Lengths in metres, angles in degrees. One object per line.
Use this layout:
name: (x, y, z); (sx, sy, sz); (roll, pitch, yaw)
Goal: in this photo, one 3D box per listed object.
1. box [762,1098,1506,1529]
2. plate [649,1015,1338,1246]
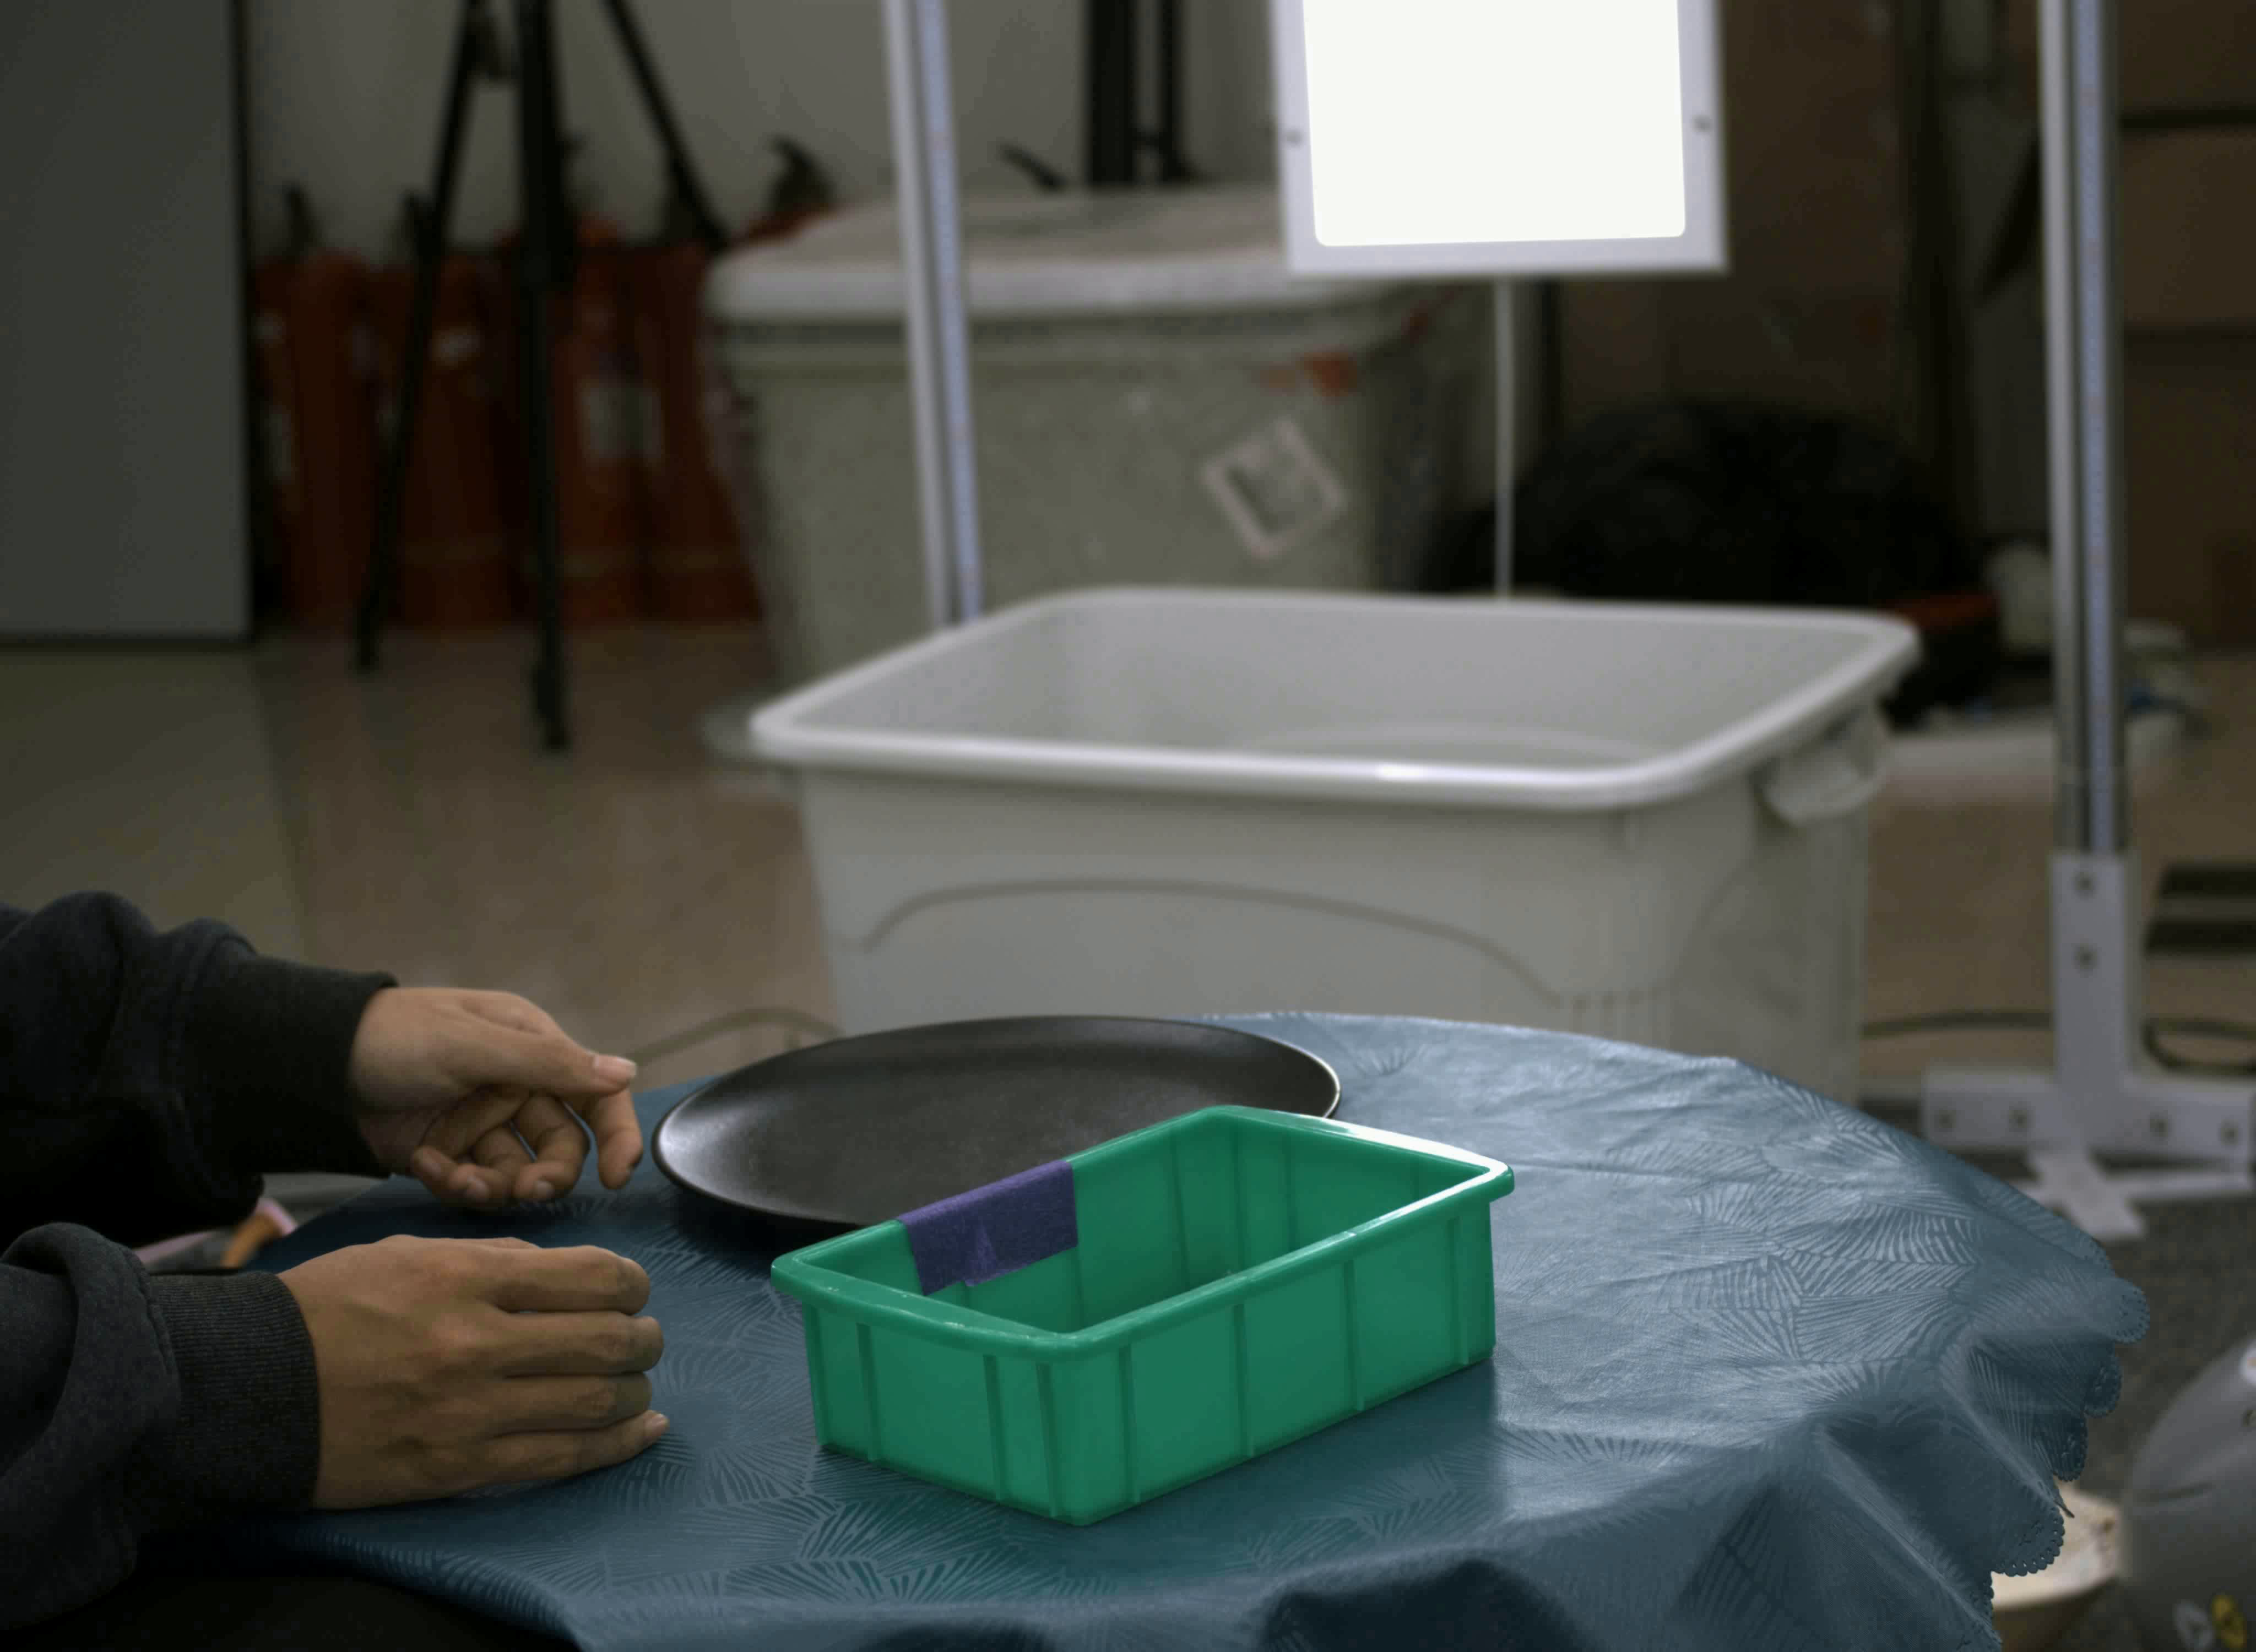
box: (0.006, 0.147, 1.678); (0.205, 0.065, 0.142); (-20, 18, -40)
plate: (-0.047, 0.110, 1.933); (0.244, 0.023, 0.244); (-5, 14, 0)
